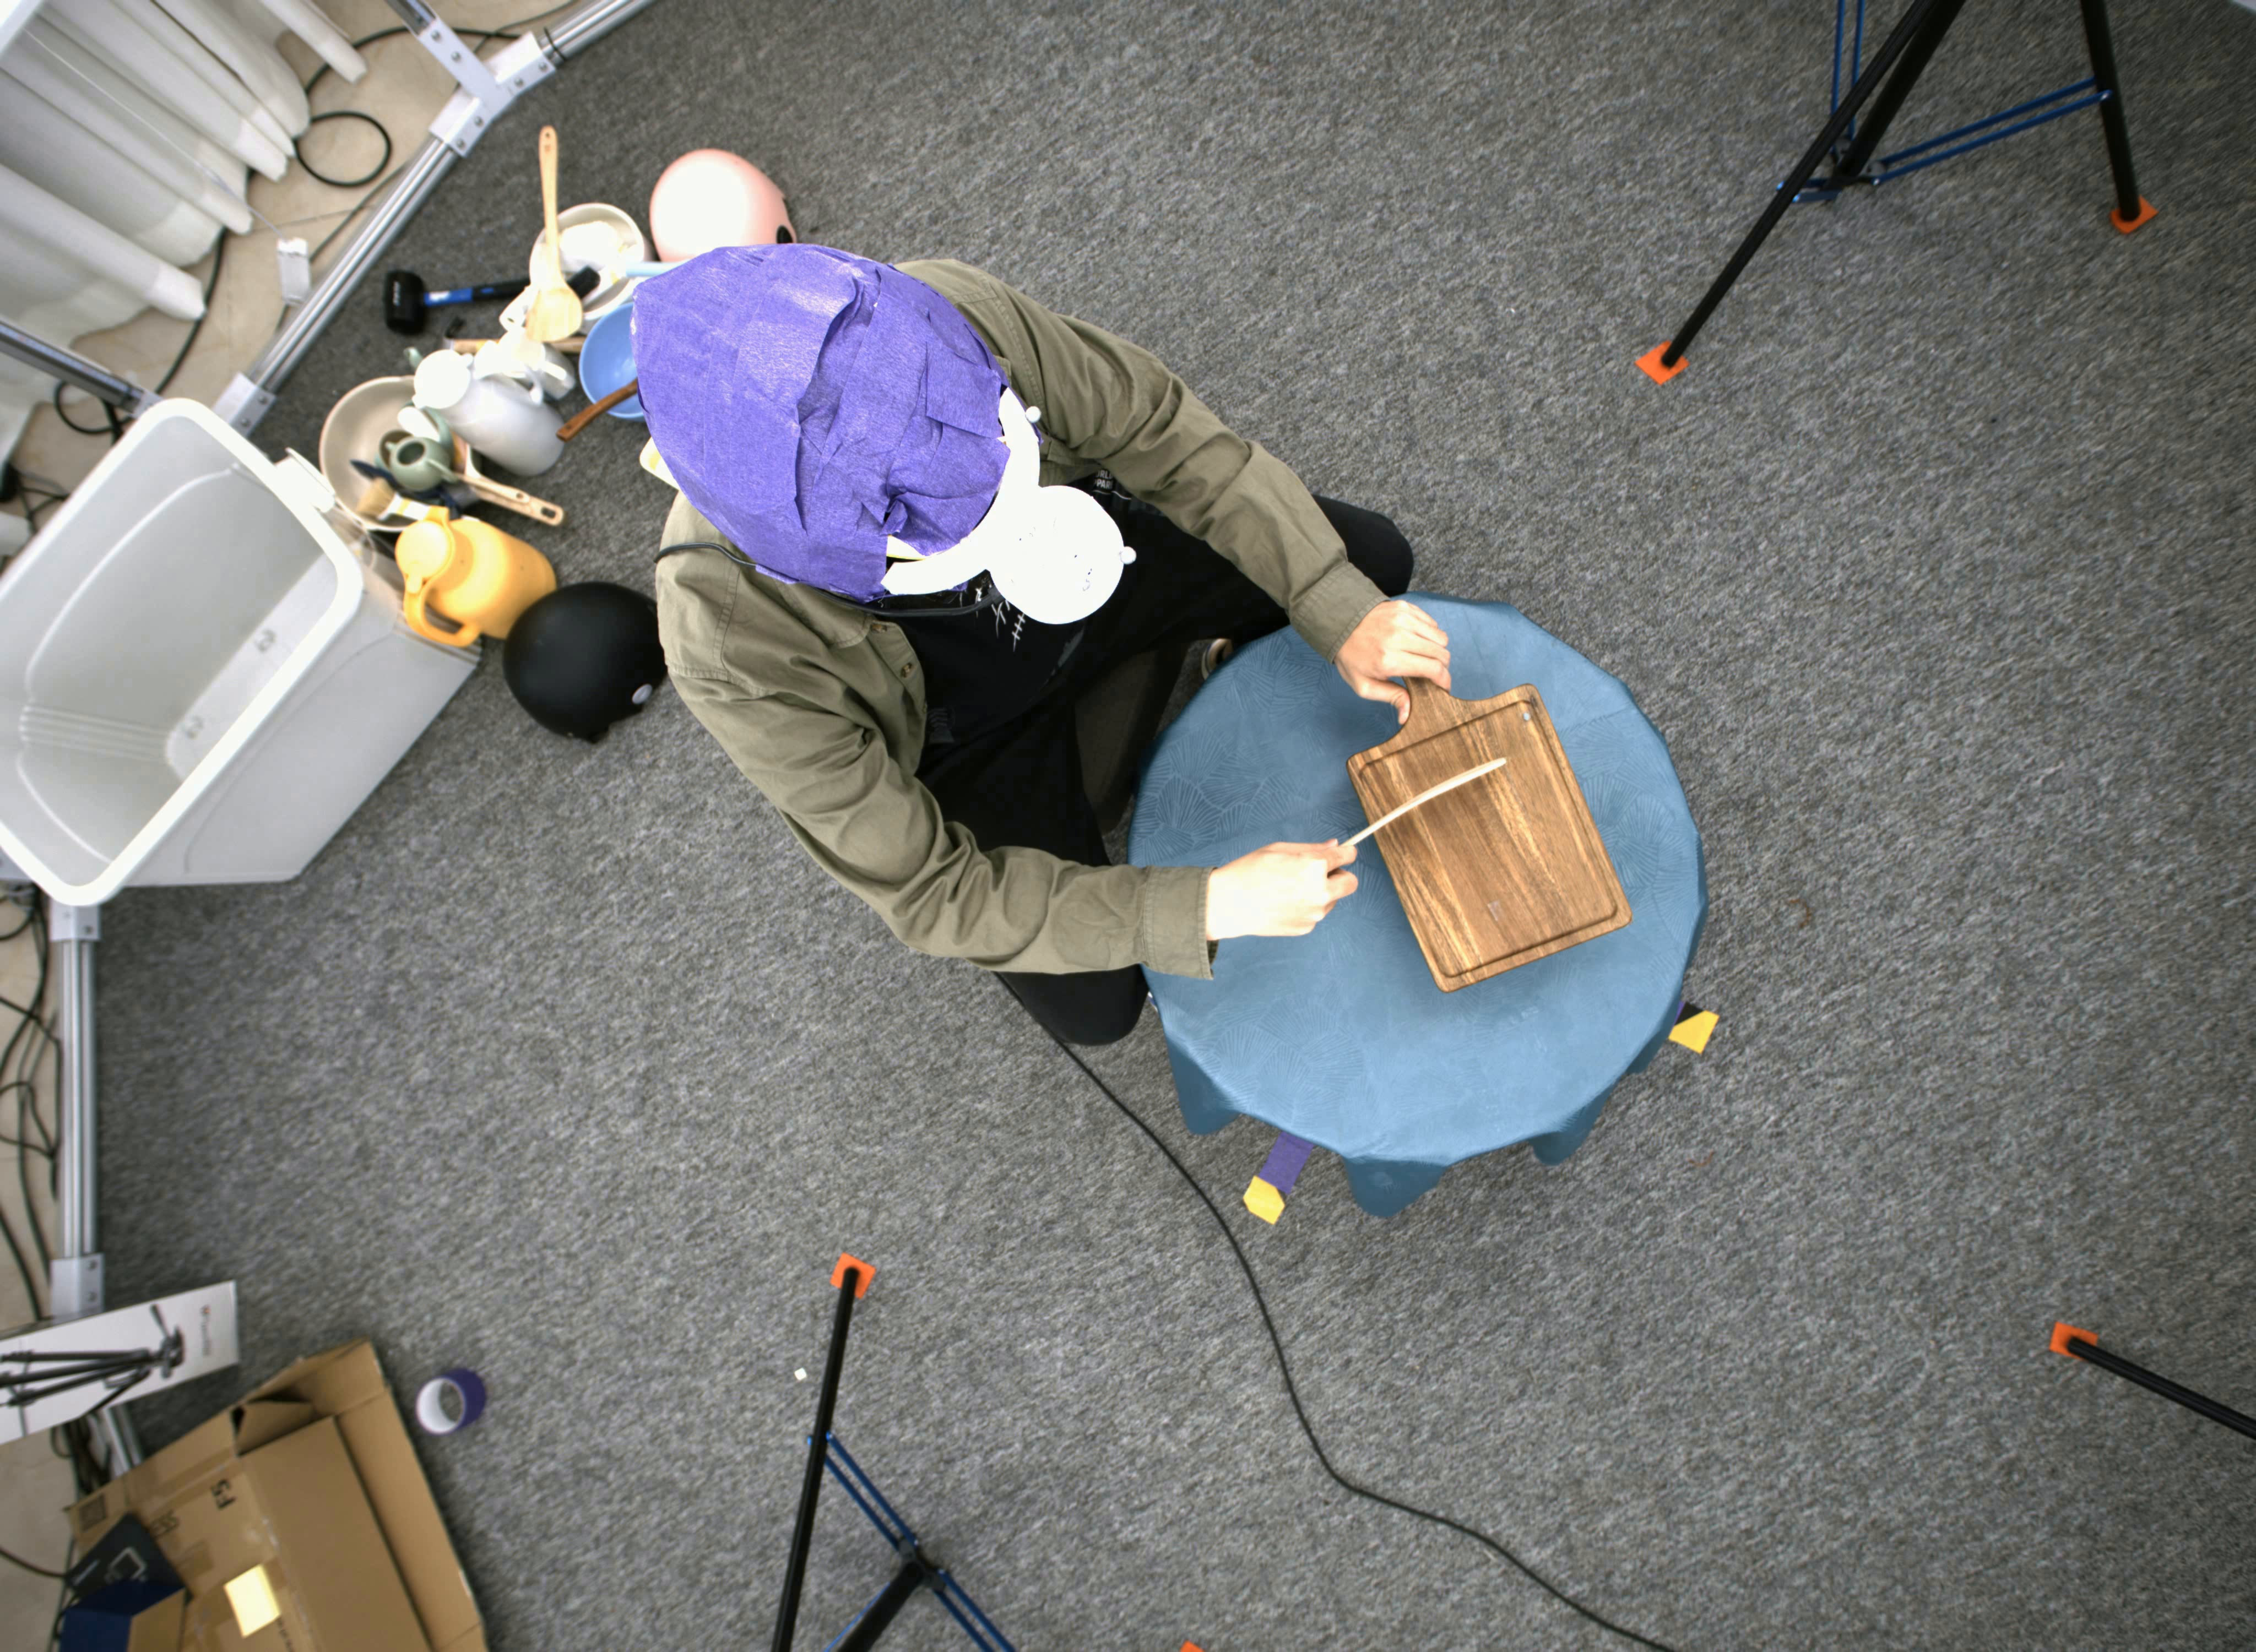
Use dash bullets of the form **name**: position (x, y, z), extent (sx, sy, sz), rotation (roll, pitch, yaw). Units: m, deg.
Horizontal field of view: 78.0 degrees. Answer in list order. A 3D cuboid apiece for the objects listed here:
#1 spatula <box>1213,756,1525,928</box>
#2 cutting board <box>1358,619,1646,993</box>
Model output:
- **spatula**: position (0.219, 0.010, 1.243), extent (0.326, 0.080, 0.016), rotation (-30, 90, -5)
- **cutting board**: position (0.339, -0.035, 1.317), extent (0.203, 0.023, 0.352), rotation (-21, 90, 15)
